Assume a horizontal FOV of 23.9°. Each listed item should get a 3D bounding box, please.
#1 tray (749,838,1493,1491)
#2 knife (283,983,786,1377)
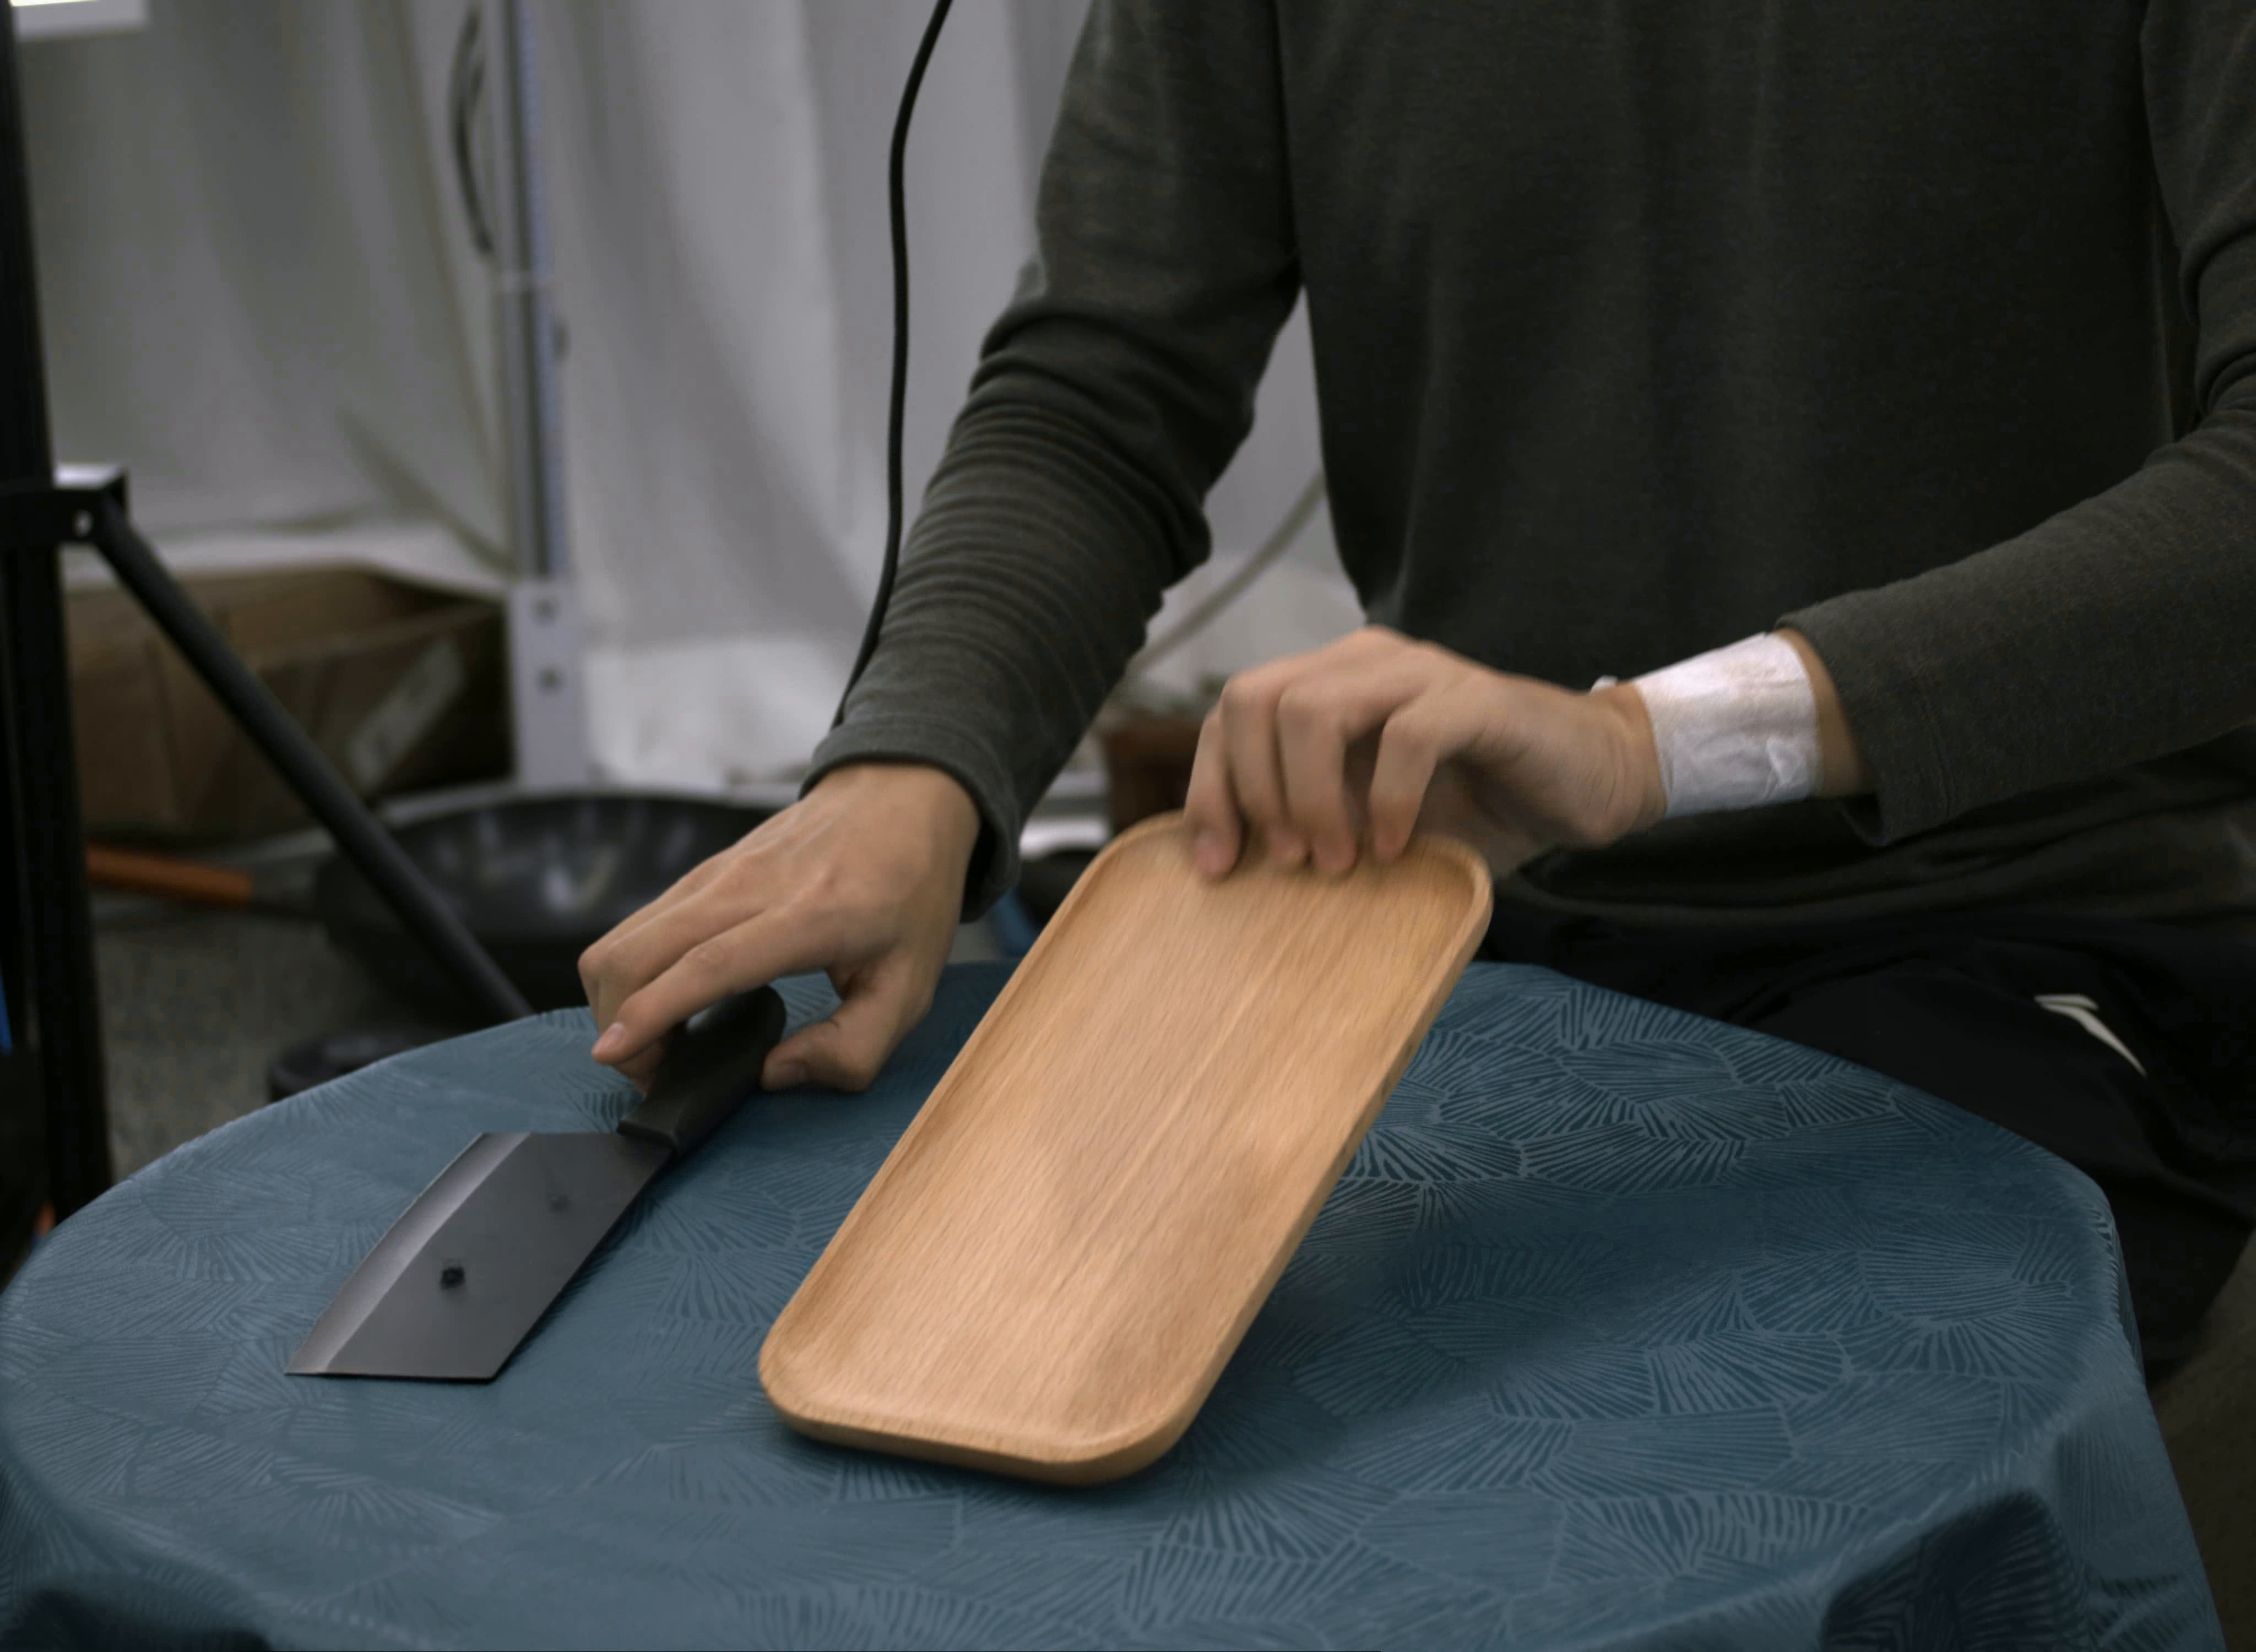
[{"bbox_3d":[0.002,0.087,1.439,0.133,0.022,0.249,9,41,28],"label":"tray"},{"bbox_3d":[-0.166,0.103,1.578,0.082,0.021,0.299,1,18,18],"label":"knife"}]
